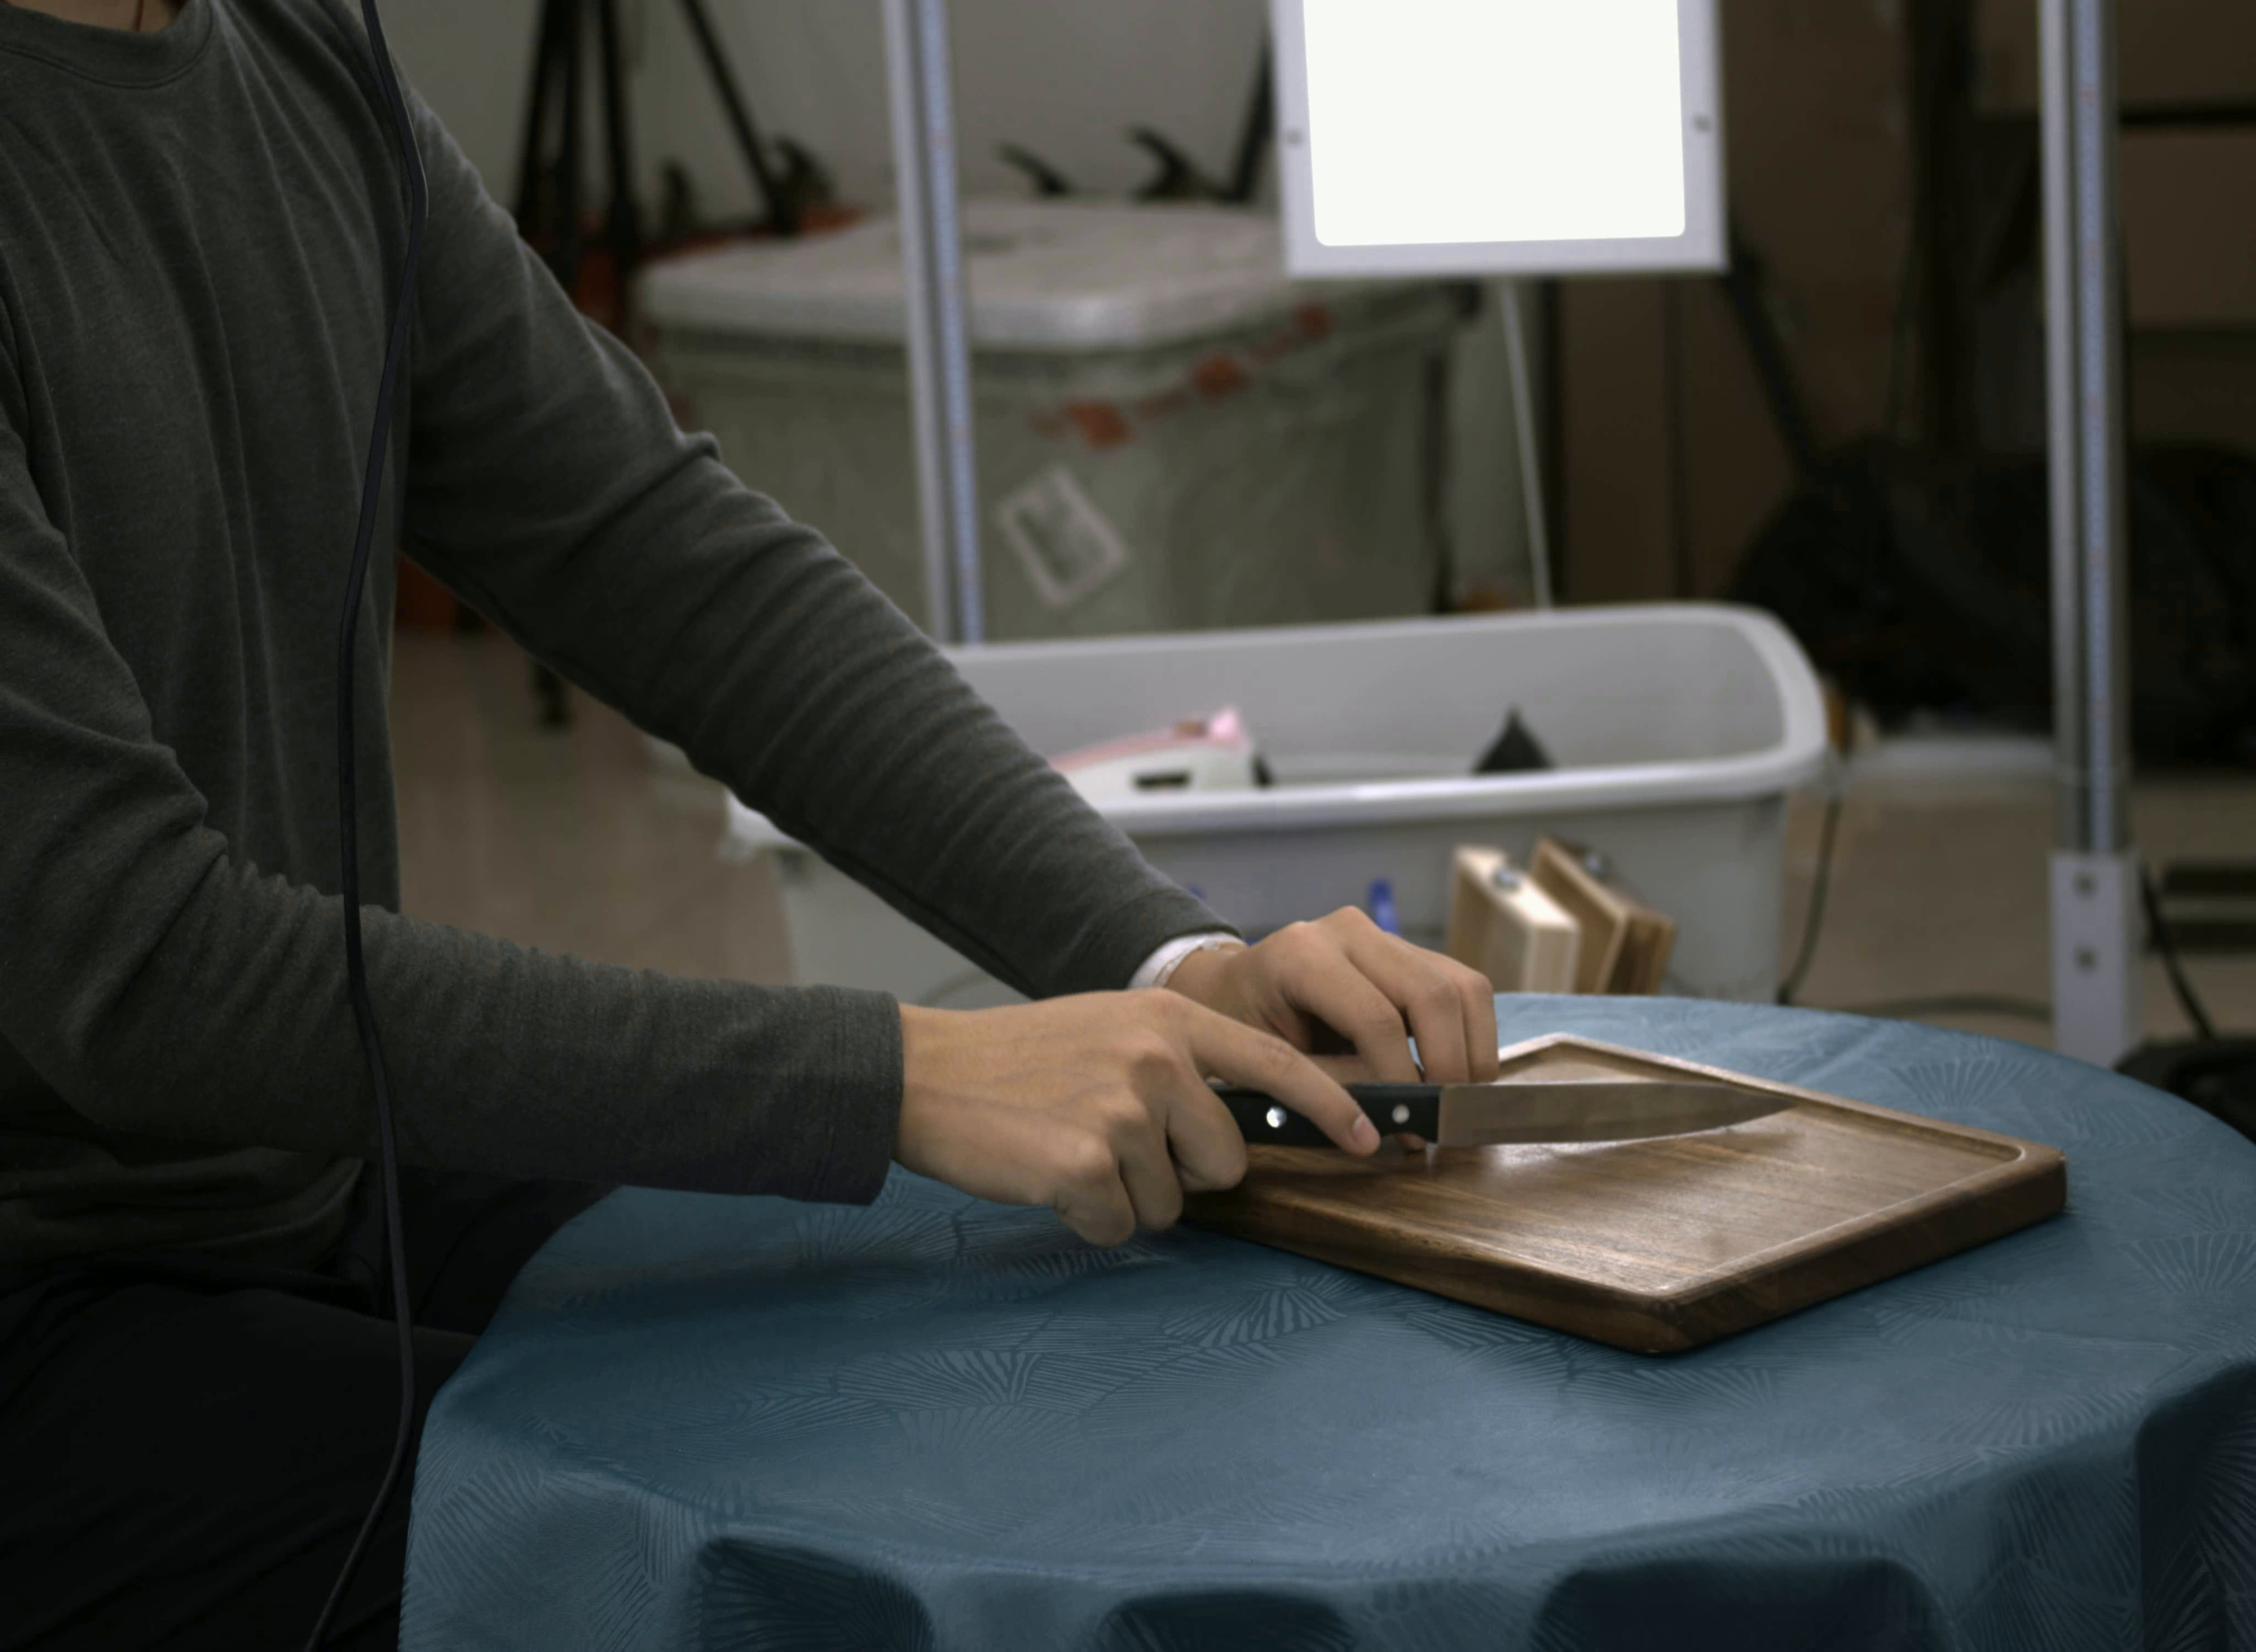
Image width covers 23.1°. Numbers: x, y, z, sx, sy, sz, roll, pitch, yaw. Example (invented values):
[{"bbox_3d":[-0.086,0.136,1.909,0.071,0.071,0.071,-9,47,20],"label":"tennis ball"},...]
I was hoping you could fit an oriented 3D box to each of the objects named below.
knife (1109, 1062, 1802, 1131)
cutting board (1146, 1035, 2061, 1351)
[{"bbox_3d":[0.112,0.091,1.847,0.236,0.024,0.016,0,13,-5],"label":"knife"},{"bbox_3d":[0.128,0.112,1.872,0.196,0.023,0.359,-15,16,-36],"label":"cutting board"}]
